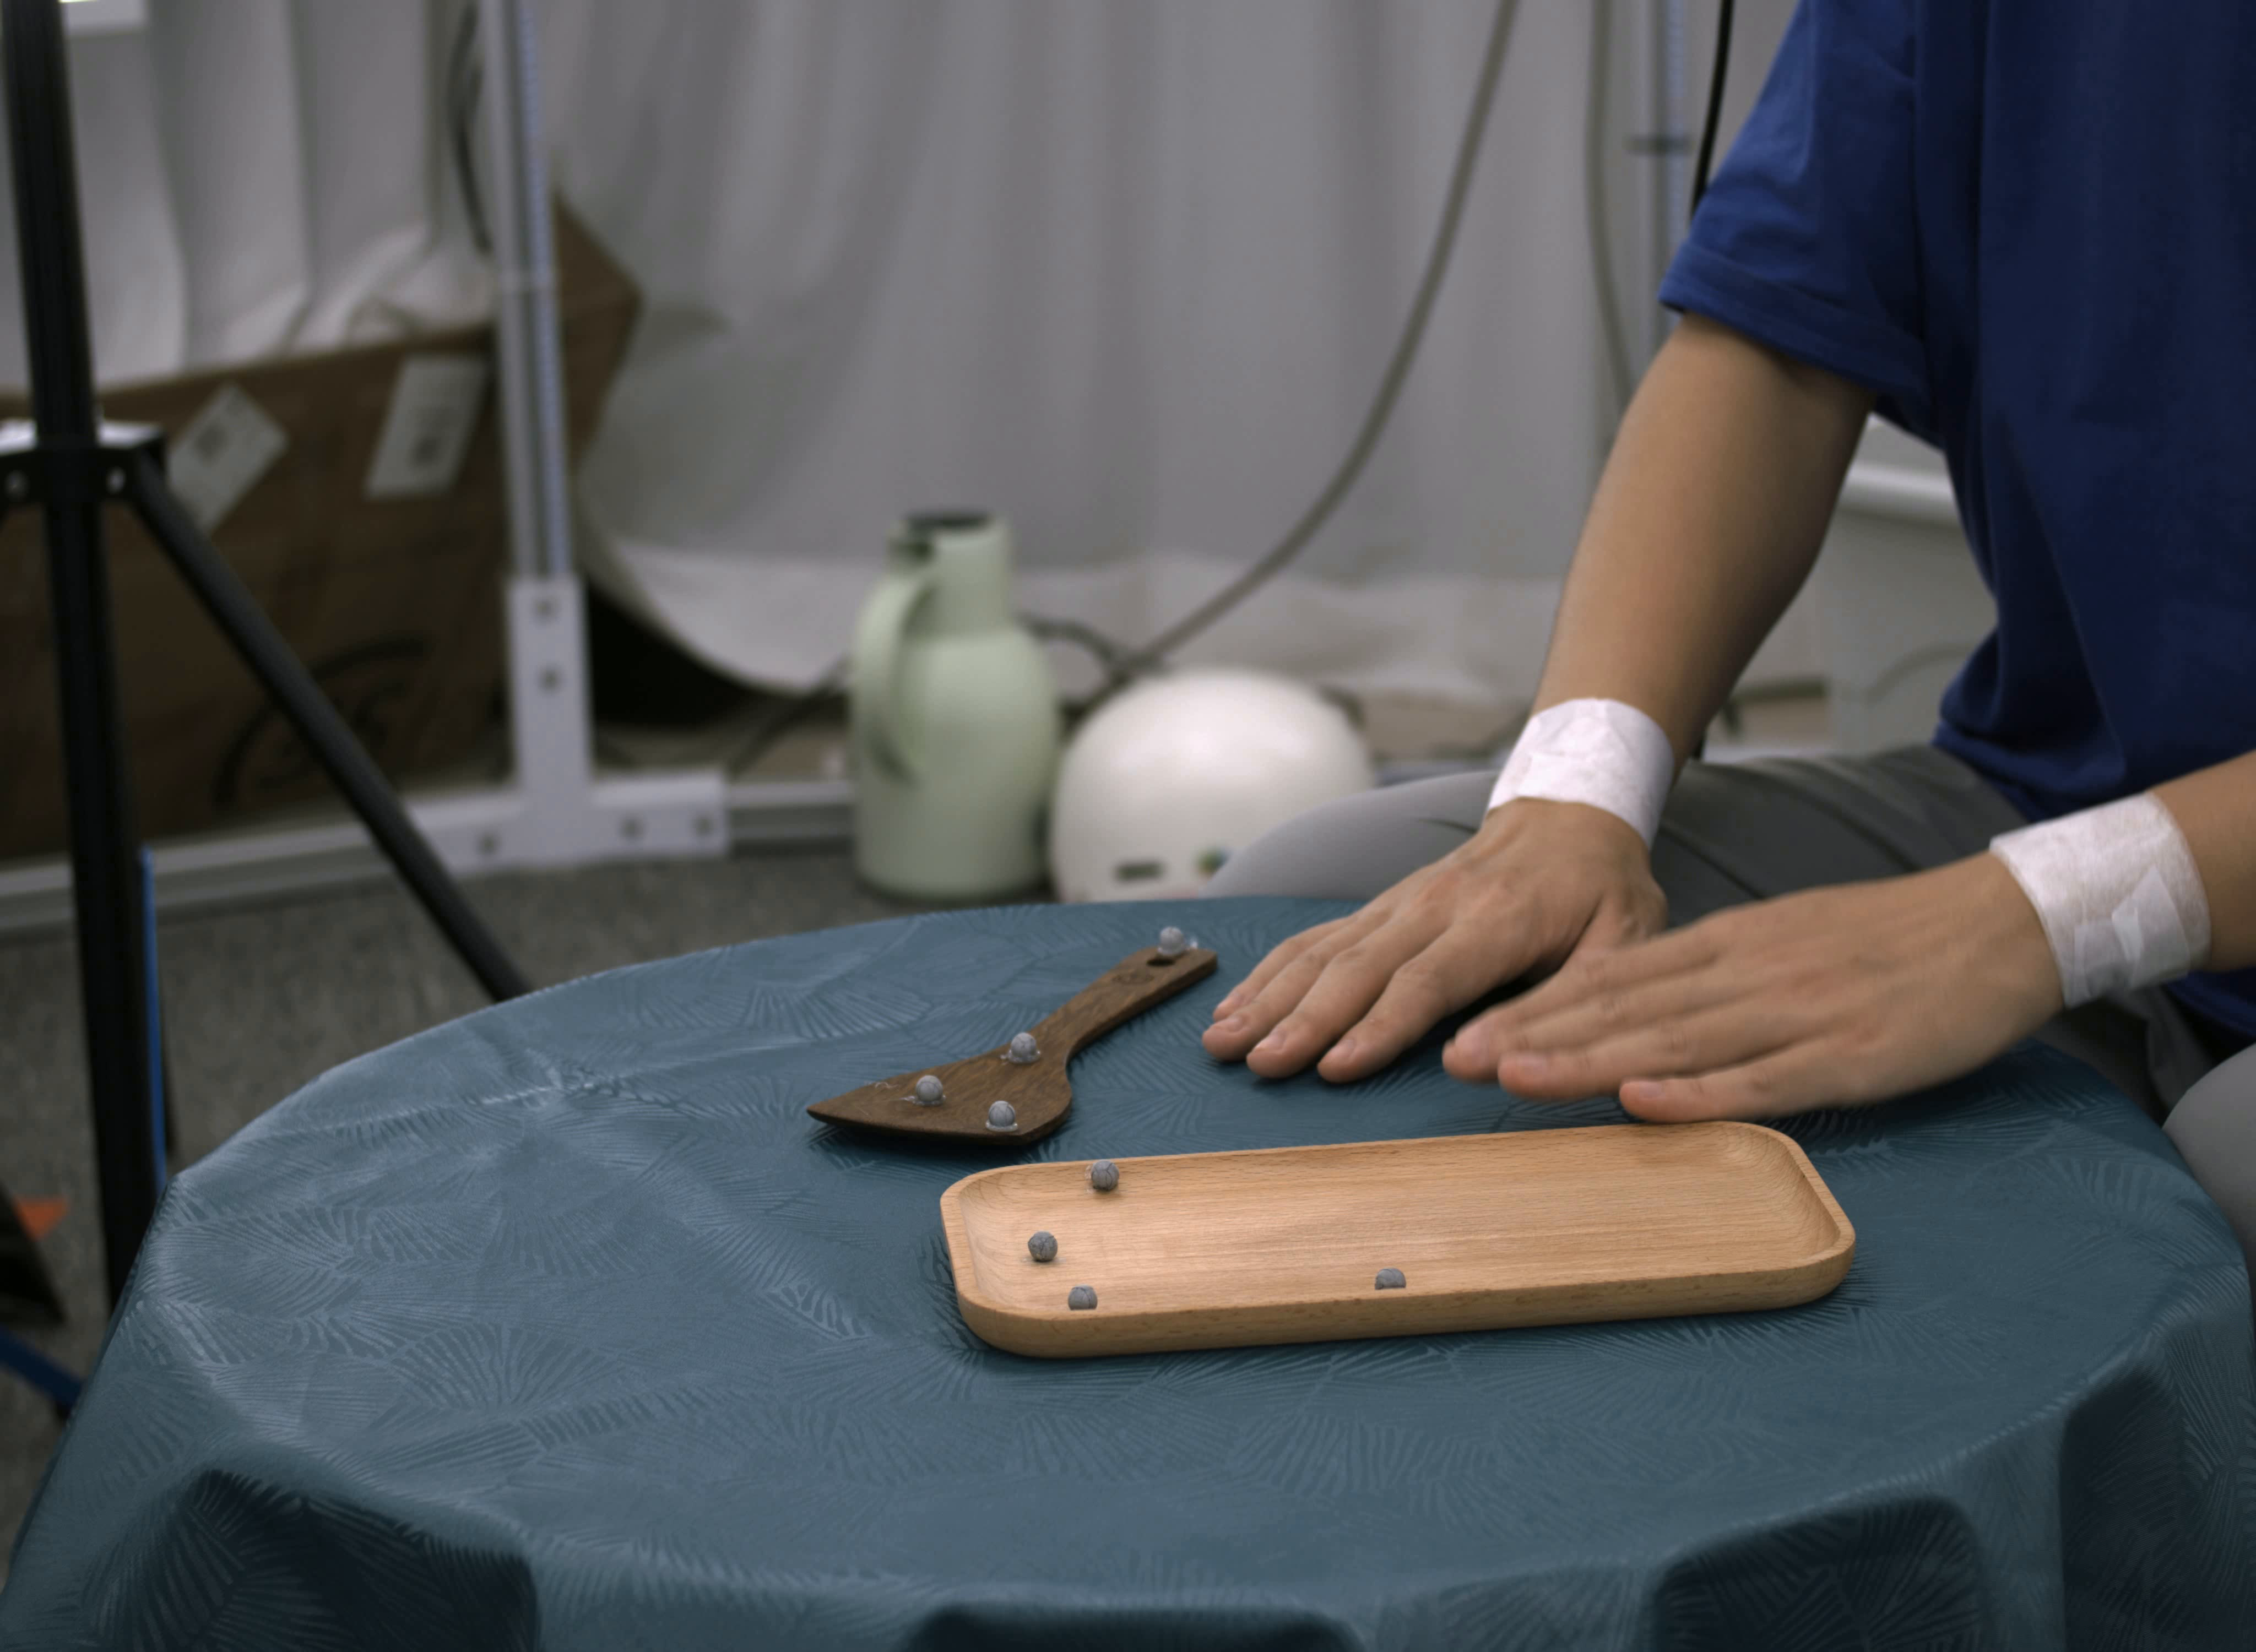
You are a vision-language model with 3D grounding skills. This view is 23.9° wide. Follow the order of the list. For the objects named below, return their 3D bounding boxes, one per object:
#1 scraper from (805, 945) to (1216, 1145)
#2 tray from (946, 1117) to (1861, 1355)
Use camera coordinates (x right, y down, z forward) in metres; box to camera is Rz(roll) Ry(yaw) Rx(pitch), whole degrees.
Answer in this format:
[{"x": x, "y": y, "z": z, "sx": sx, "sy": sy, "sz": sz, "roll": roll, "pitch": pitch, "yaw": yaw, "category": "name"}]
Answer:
[{"x": -0.024, "y": 0.068, "z": 1.687, "sx": 0.077, "sy": 0.011, "sz": 0.208, "roll": 6, "pitch": 17, "yaw": 25, "category": "scraper"}, {"x": 0.075, "y": 0.115, "z": 1.490, "sx": 0.249, "sy": 0.023, "sz": 0.131, "roll": -2, "pitch": 18, "yaw": -2, "category": "tray"}]
